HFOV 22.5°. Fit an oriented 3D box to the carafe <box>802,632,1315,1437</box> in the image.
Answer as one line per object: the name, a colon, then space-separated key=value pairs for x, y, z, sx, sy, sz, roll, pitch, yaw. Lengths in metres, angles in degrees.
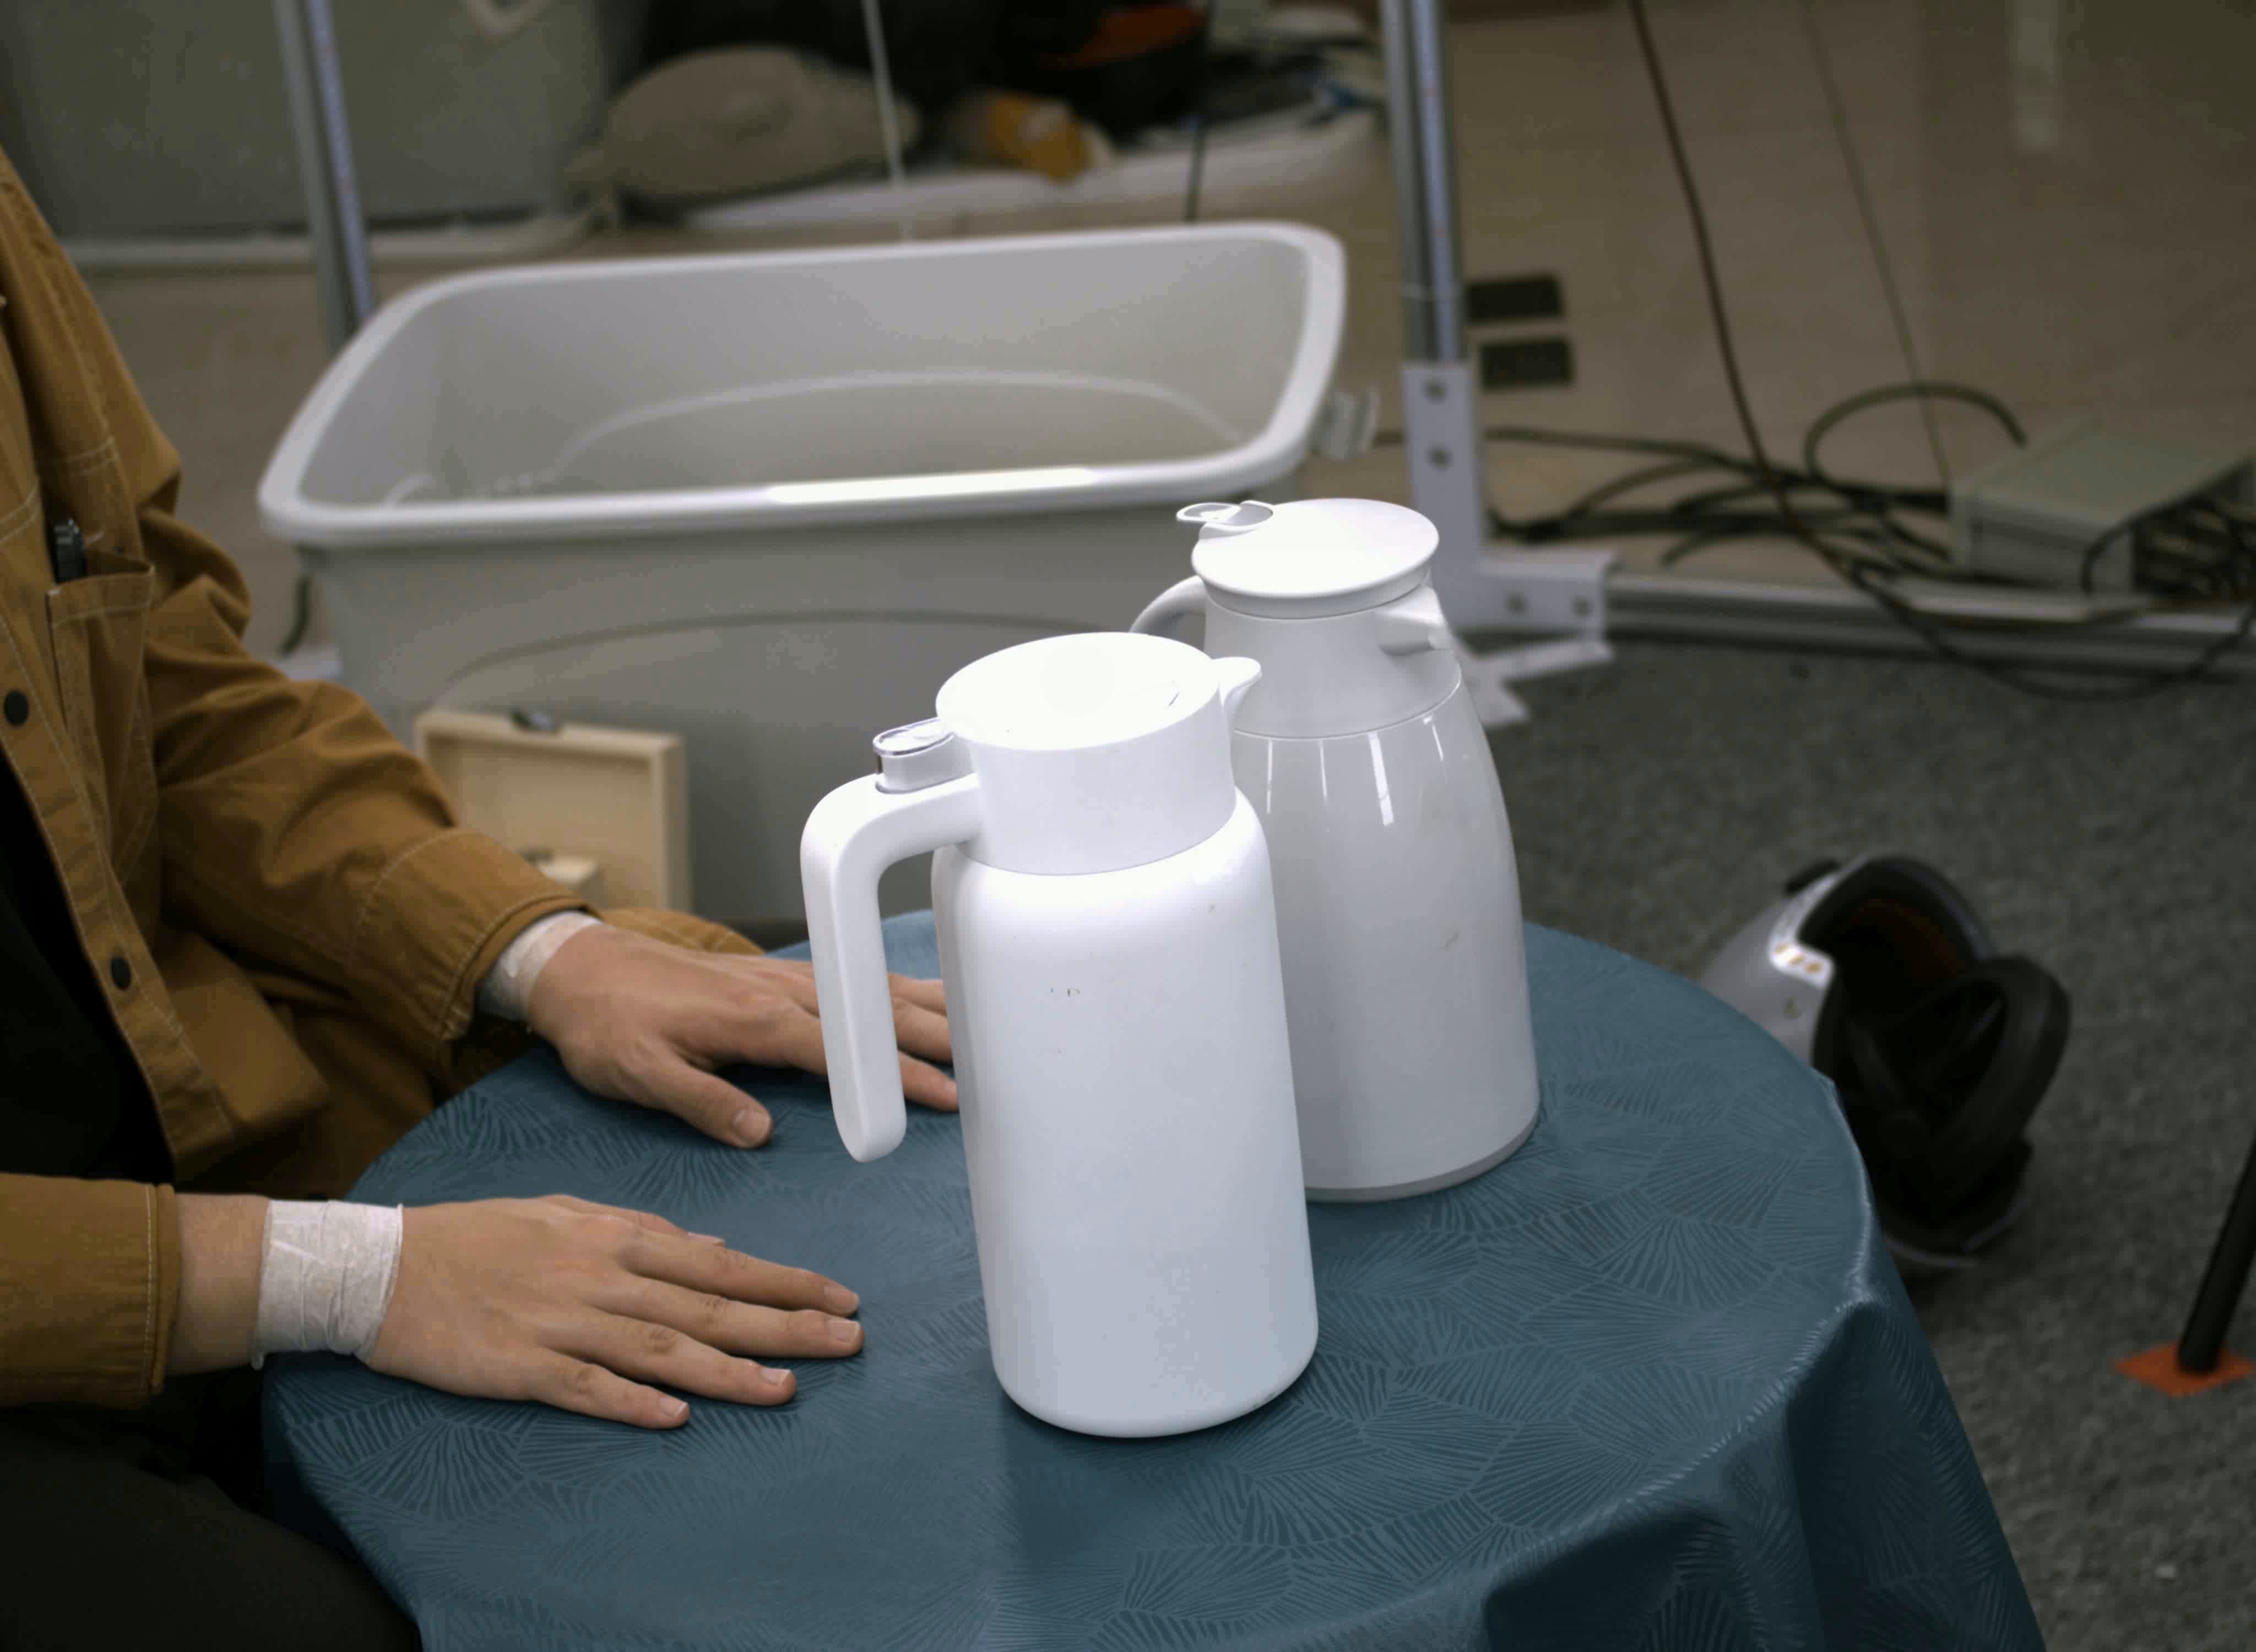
carafe: x=-0.018 y=0.078 z=1.965 sx=0.172 sy=0.273 sz=0.122 roll=-18 pitch=30 yaw=-21

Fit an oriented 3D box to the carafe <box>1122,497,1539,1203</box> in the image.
carafe: x=0.065 y=-0.001 z=2.136 sx=0.166 sy=0.252 sz=0.131 roll=15 pitch=33 yaw=39
